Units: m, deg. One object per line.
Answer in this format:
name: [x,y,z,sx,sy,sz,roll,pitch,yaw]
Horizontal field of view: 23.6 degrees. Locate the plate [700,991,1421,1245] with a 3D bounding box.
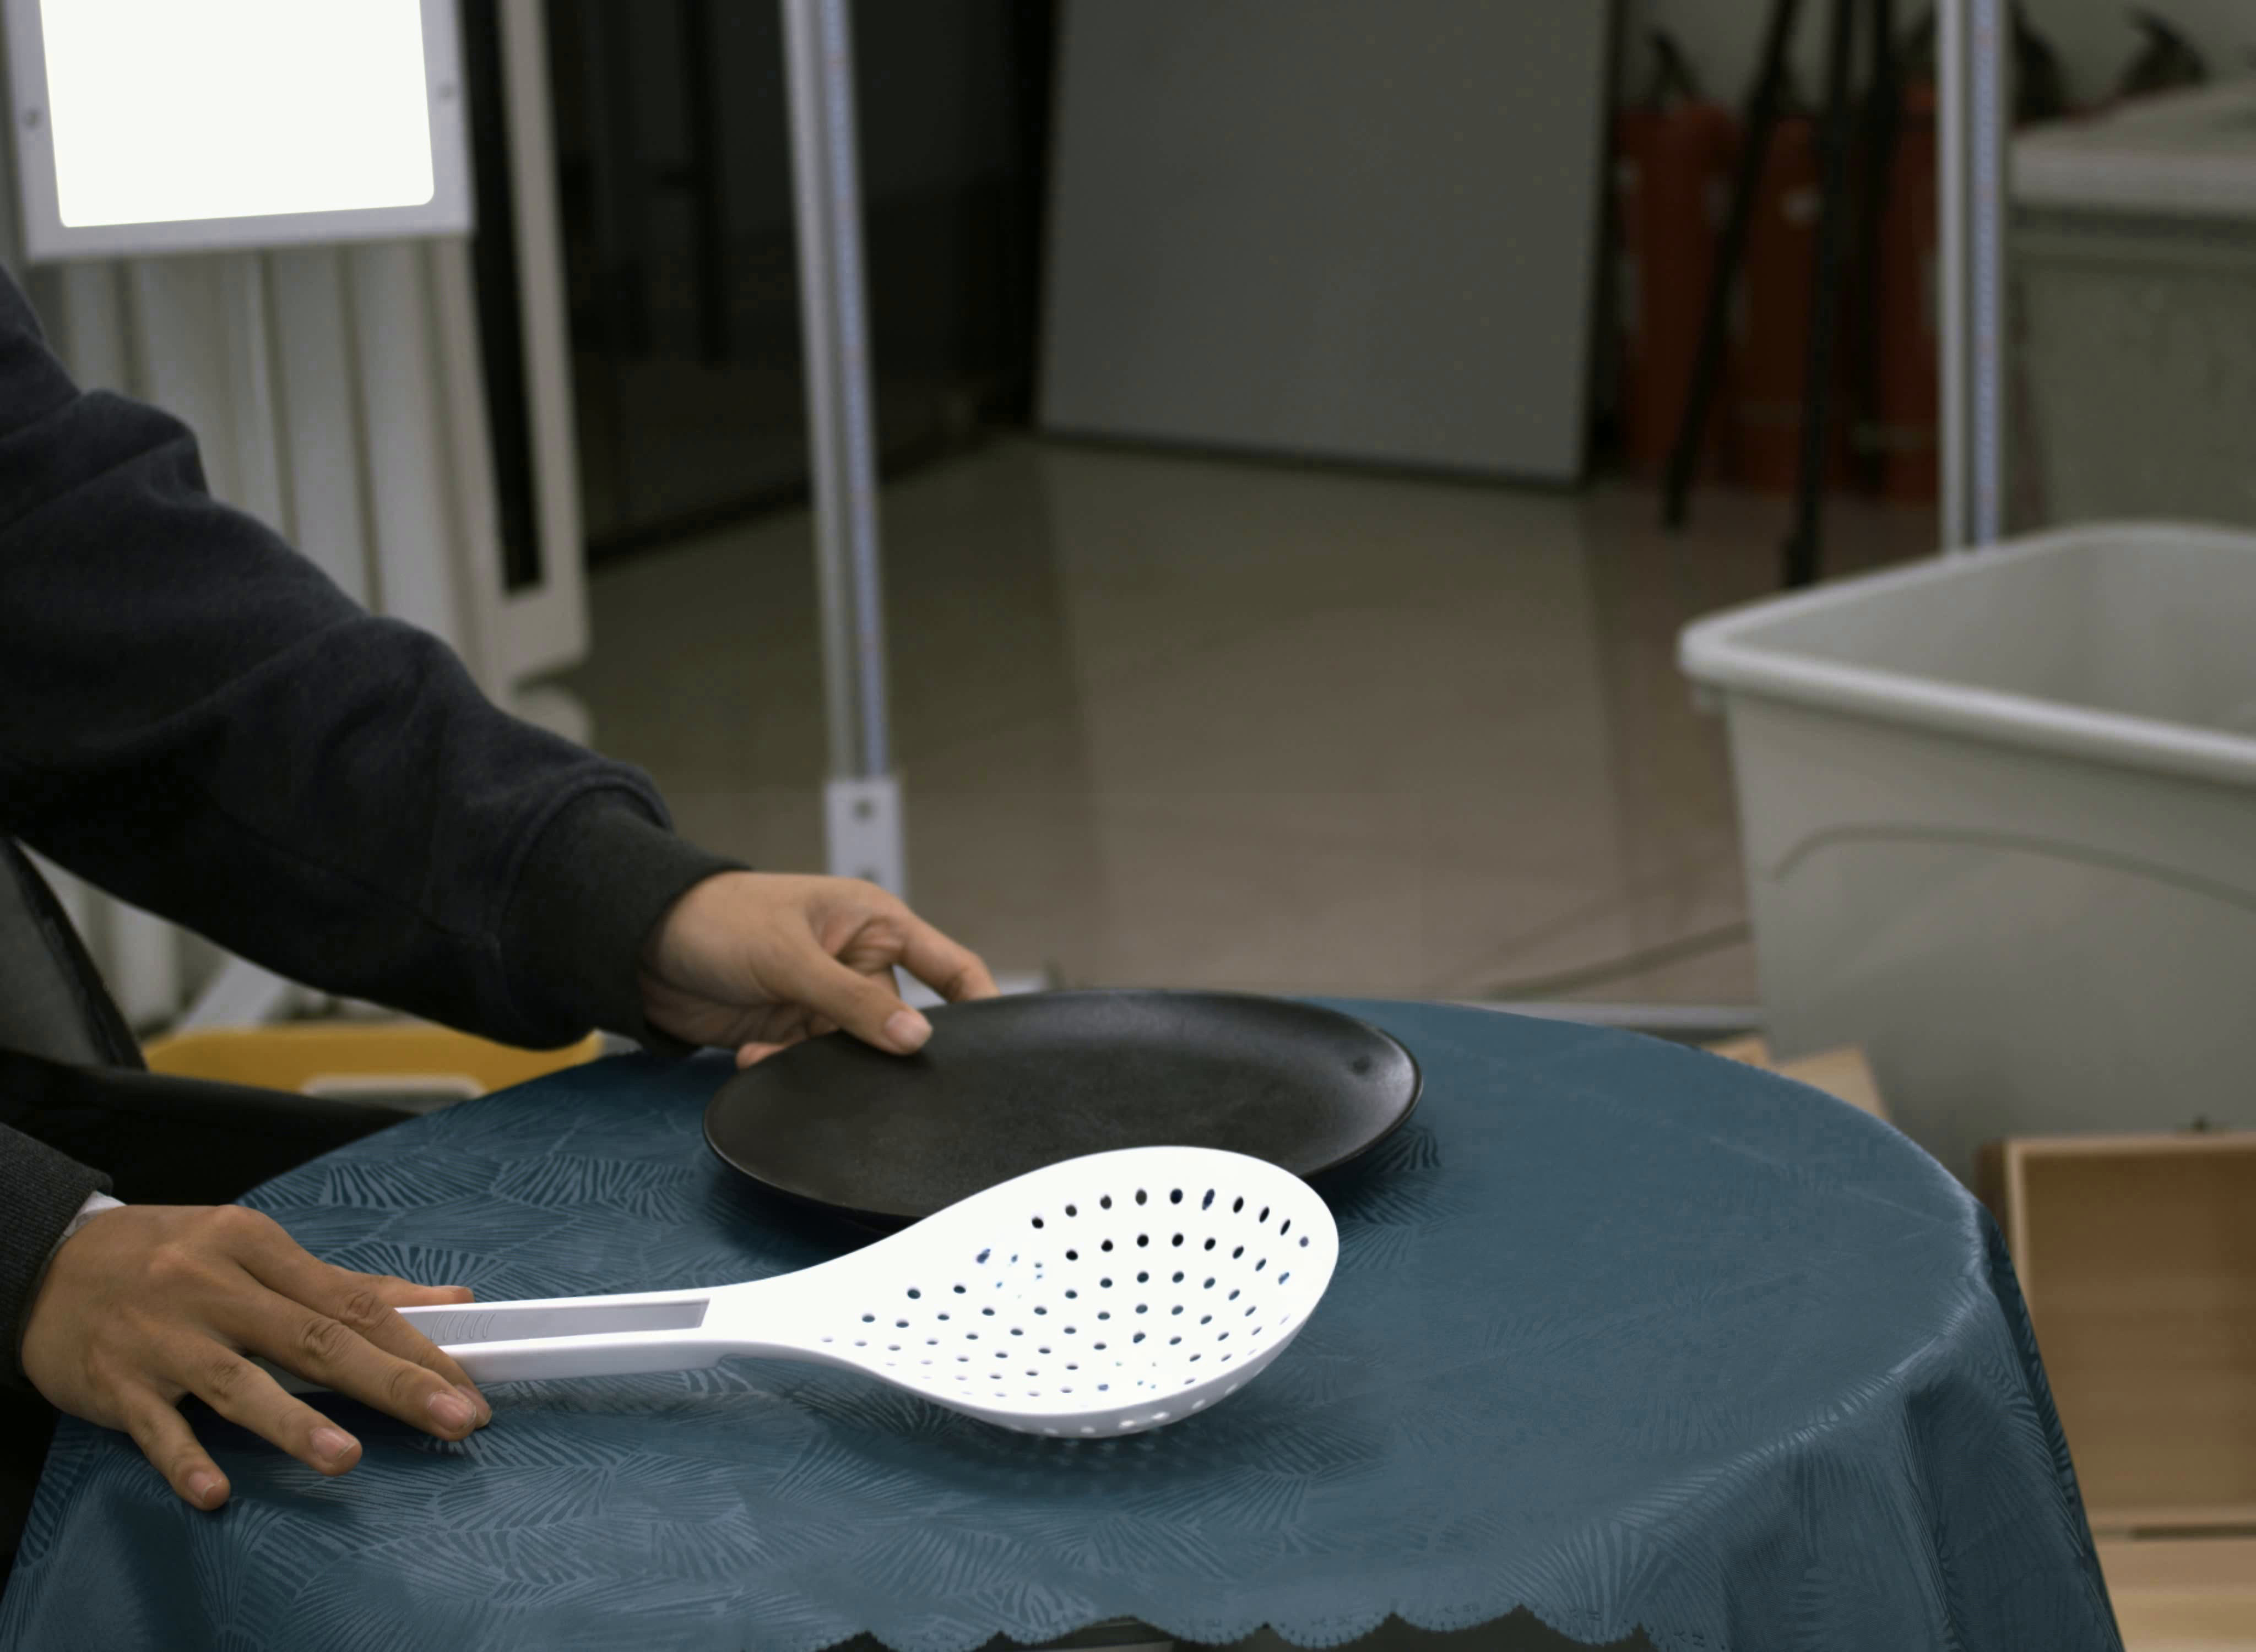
plate: [-0.022,0.101,1.800,0.241,0.024,0.245,-4,15,0]

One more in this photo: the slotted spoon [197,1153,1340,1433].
slotted spoon: [-0.108,0.146,1.588,0.347,0.046,0.136,-2,26,11]
